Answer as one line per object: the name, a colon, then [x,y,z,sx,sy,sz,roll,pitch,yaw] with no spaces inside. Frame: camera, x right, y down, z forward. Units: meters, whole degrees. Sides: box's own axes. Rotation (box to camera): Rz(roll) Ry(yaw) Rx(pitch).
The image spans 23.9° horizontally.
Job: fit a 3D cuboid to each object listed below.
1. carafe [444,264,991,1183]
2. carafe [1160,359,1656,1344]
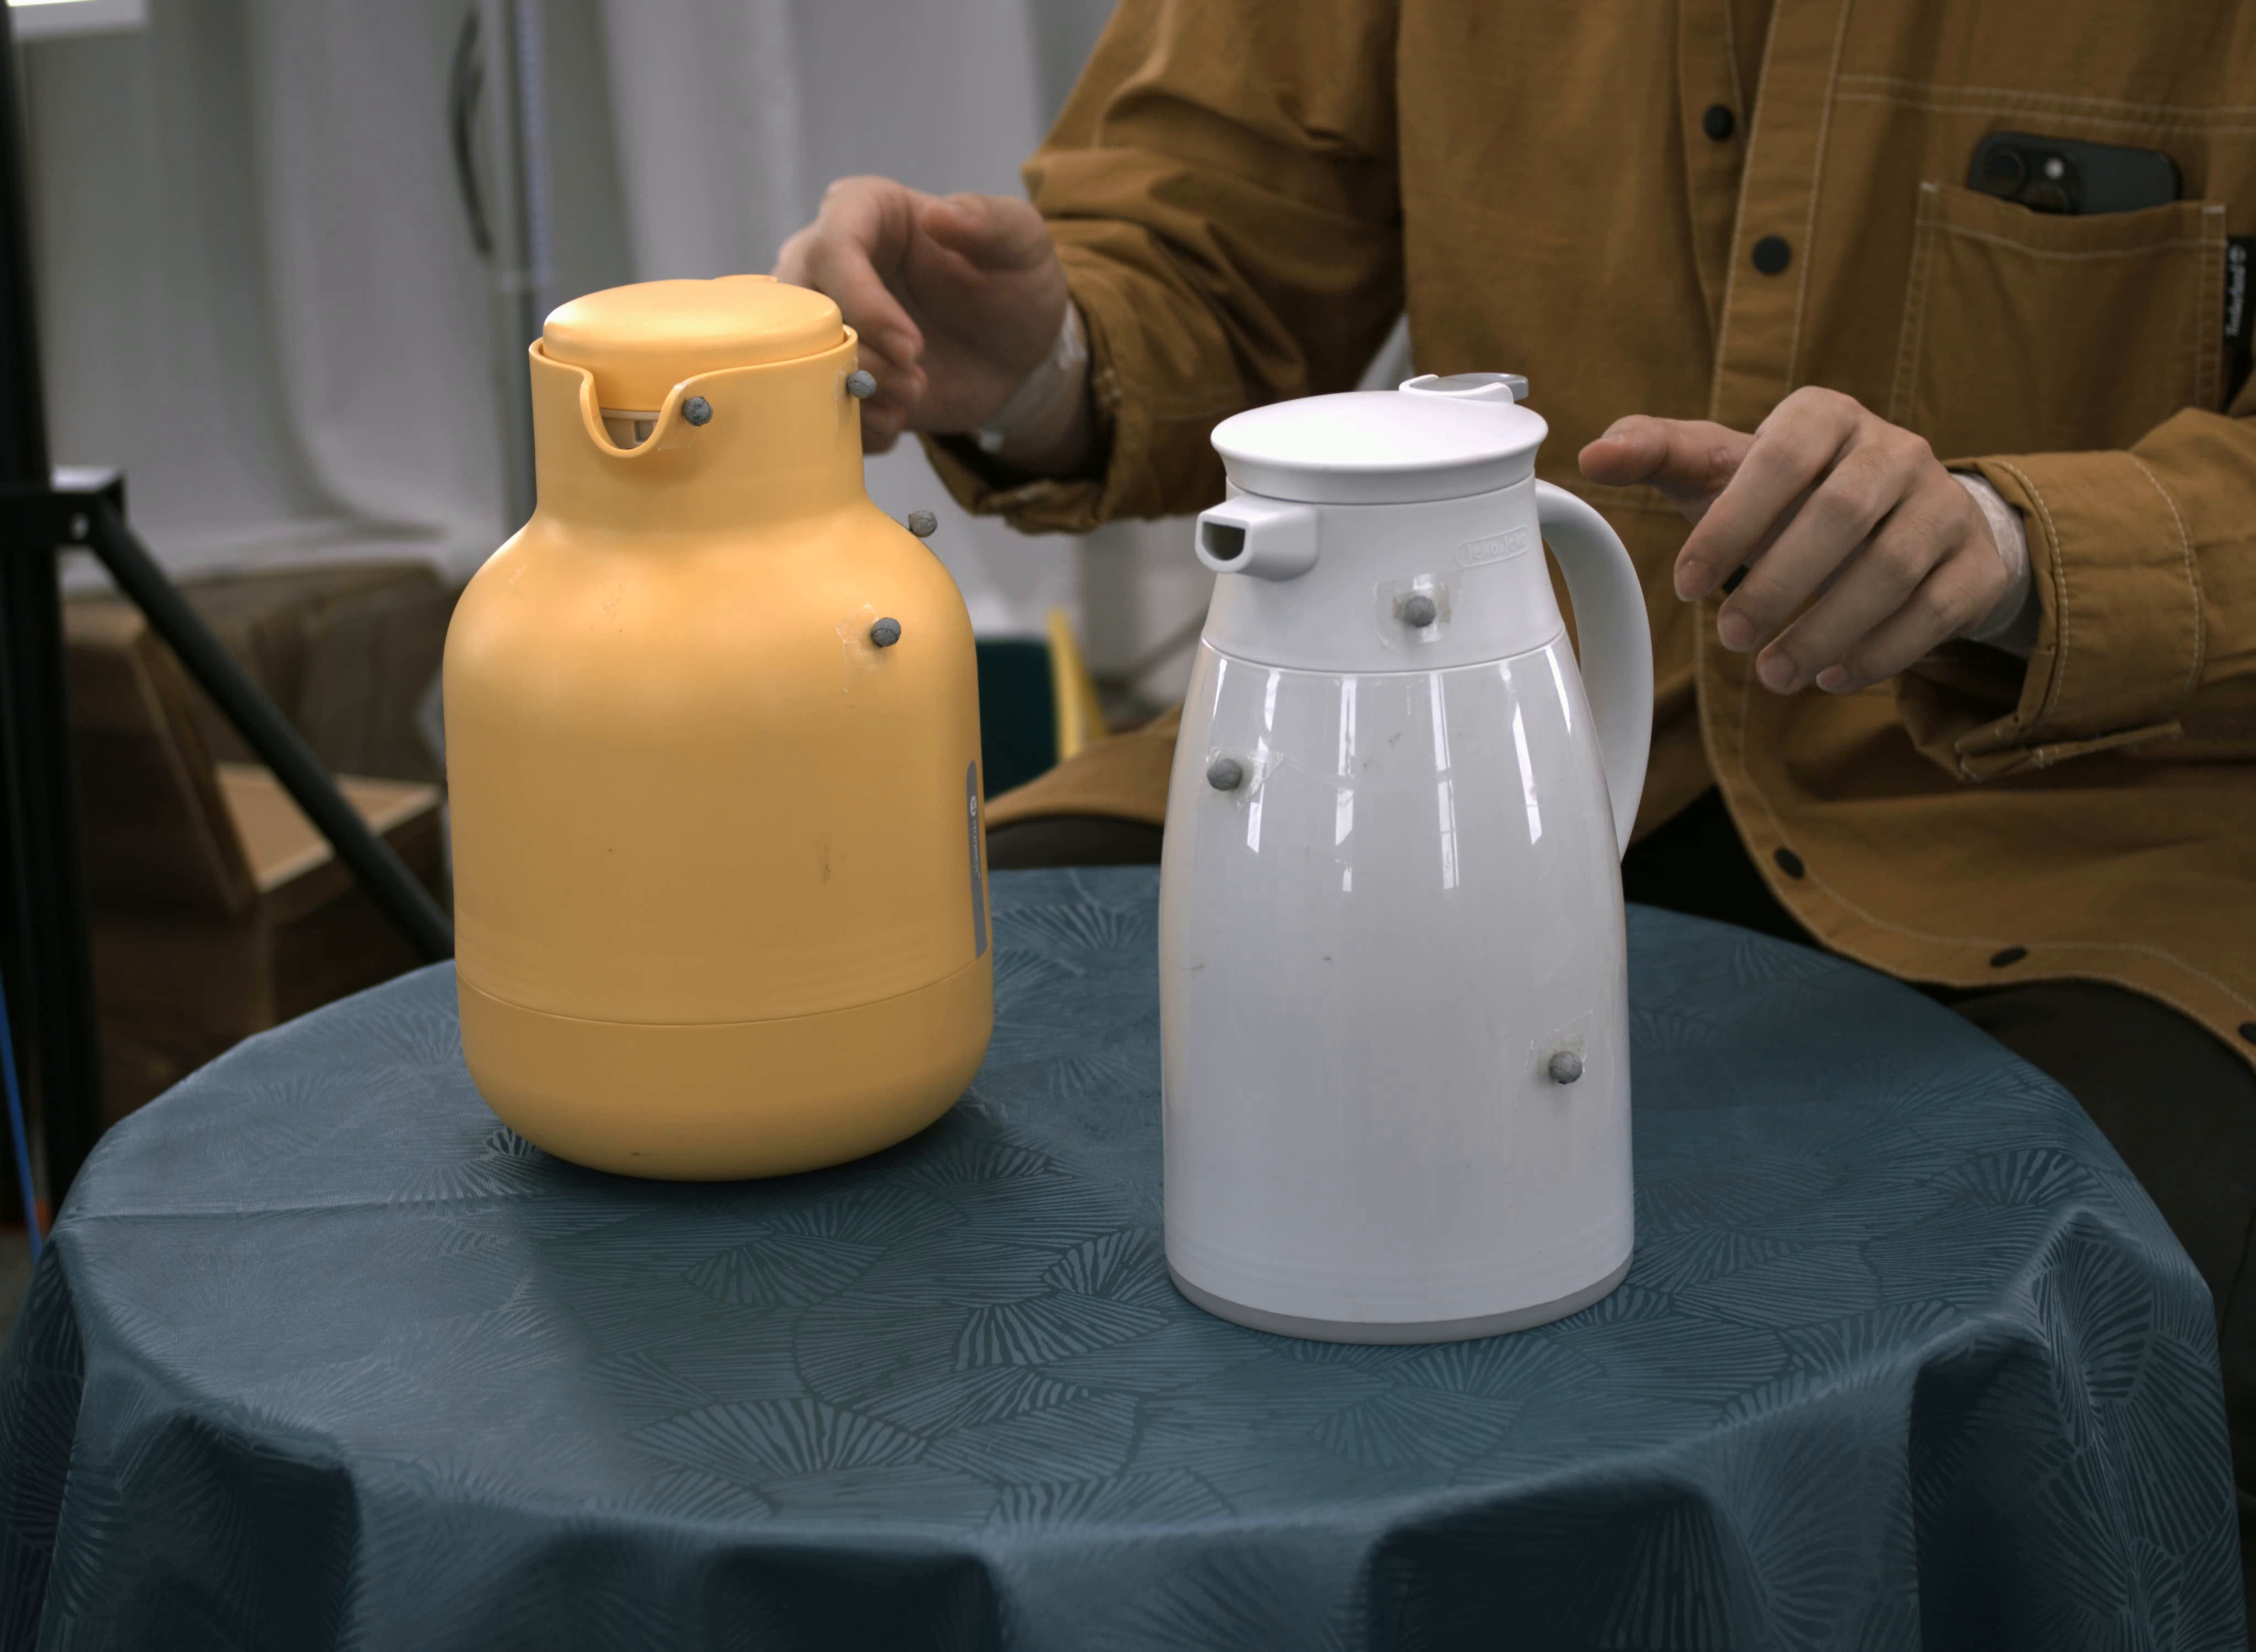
carafe: [-0.118,-0.039,1.618,0.165,0.260,0.201,4,17,14]
carafe: [0.085,-0.001,1.470,0.164,0.248,0.135,-16,21,-42]
